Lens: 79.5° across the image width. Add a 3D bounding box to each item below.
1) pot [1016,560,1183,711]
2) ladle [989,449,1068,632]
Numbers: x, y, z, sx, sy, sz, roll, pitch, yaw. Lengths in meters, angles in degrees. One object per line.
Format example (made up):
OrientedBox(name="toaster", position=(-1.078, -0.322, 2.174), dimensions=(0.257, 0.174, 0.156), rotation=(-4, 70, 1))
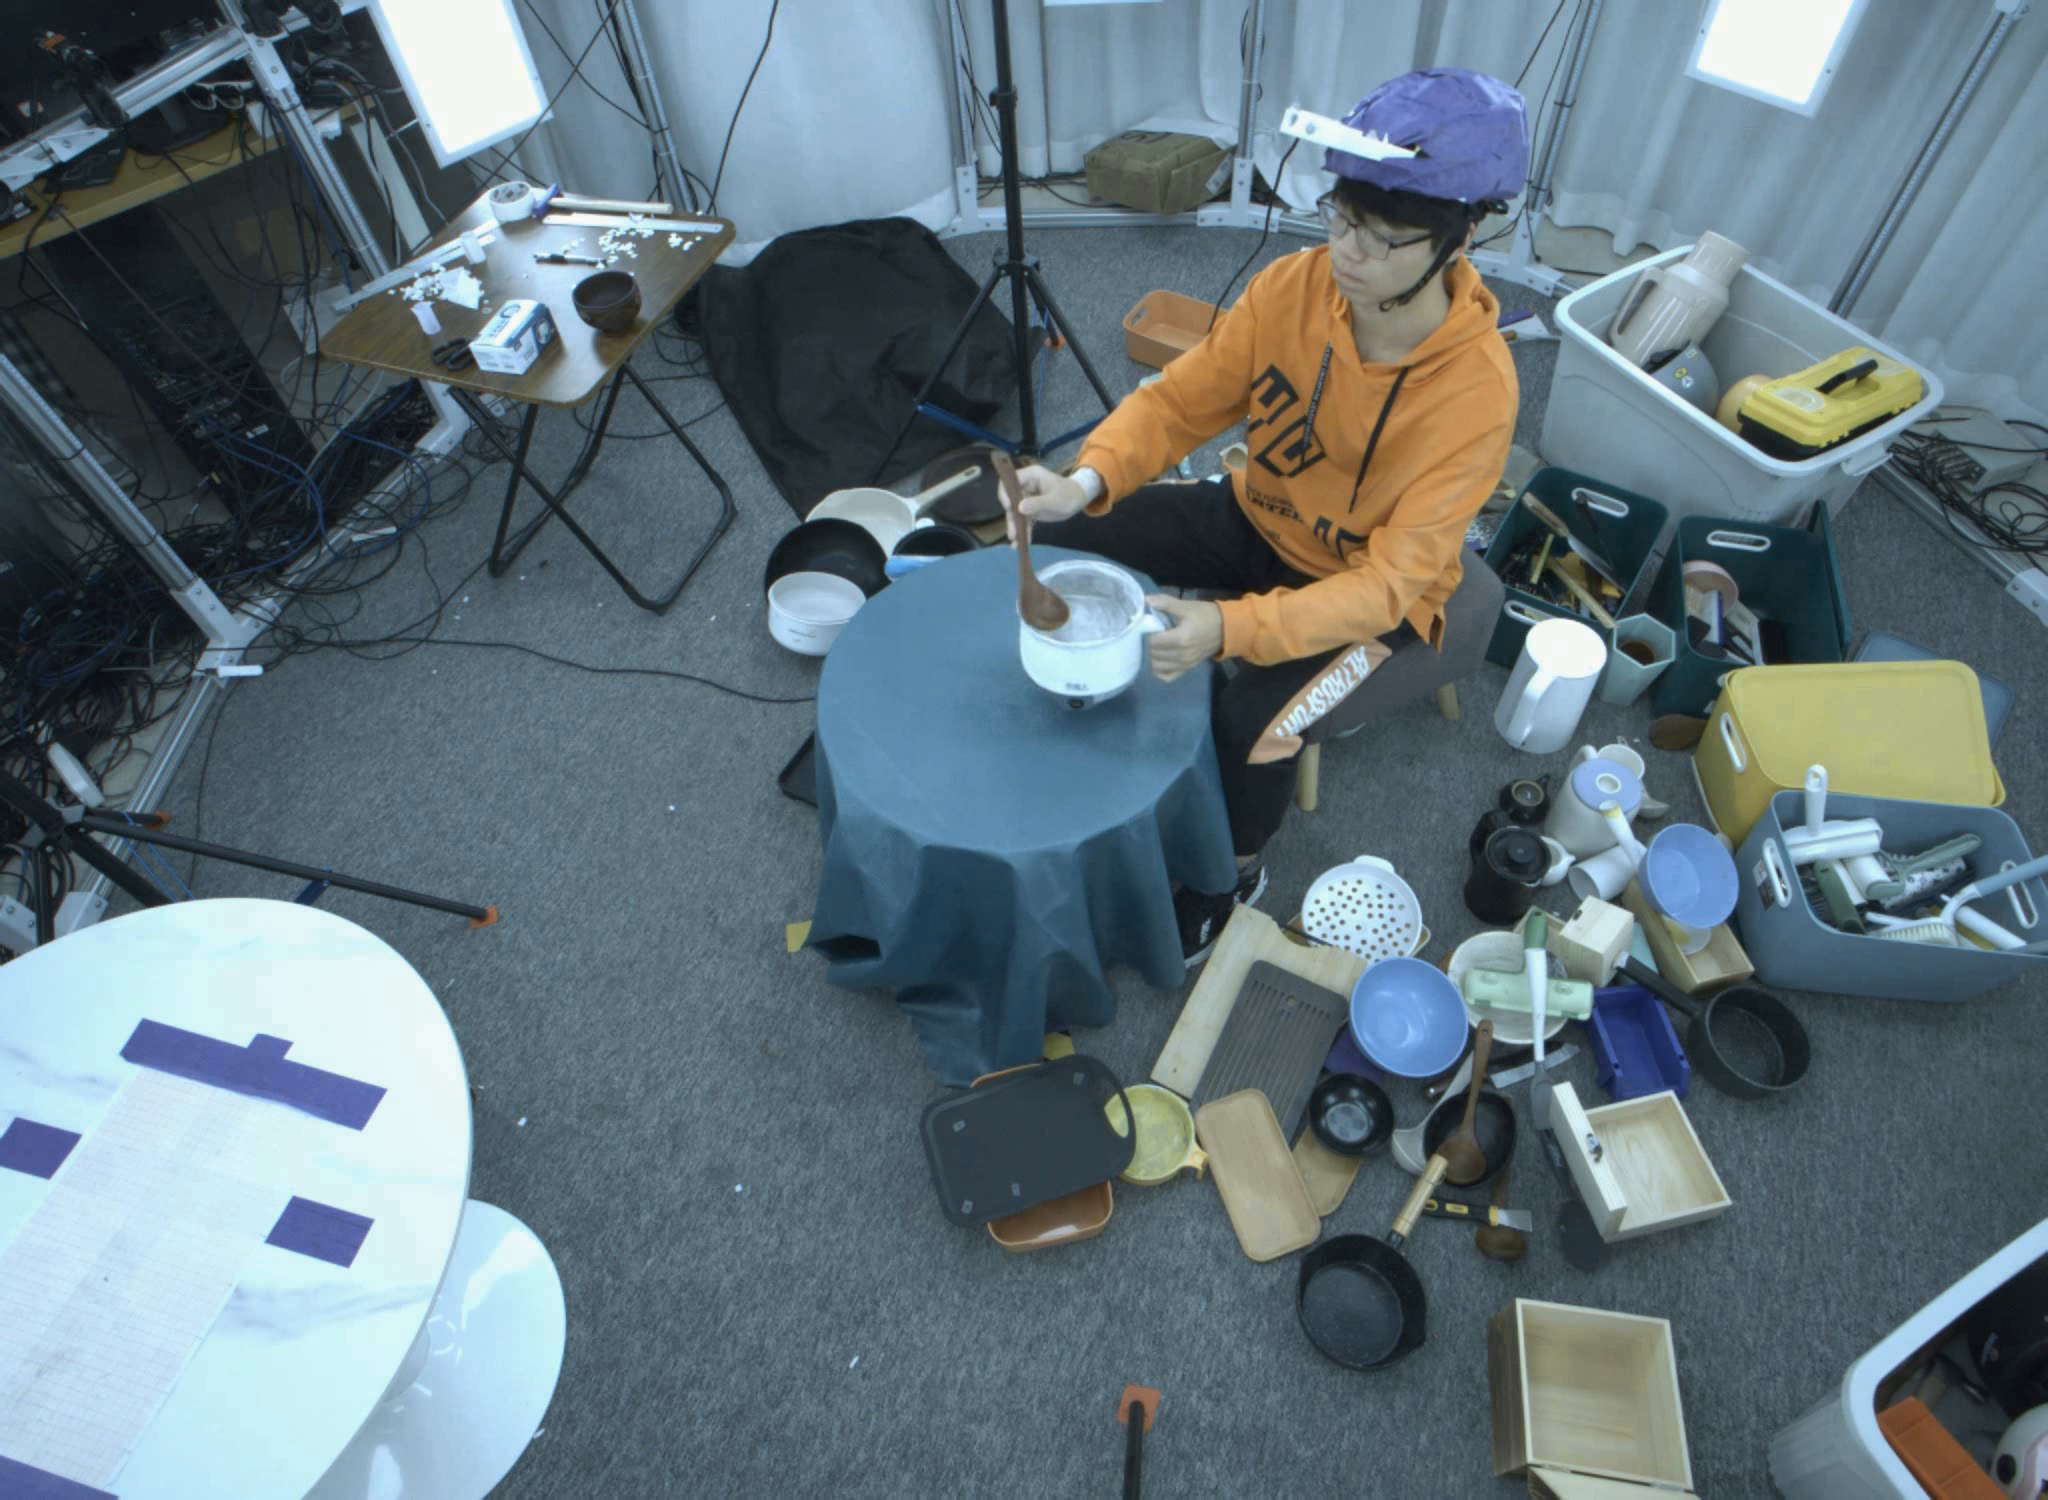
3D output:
OrientedBox(name="pot", position=(0.108, -0.162, 1.741), dimensions=(0.233, 0.138, 0.177), rotation=(2, 51, 5))
OrientedBox(name="ladle", position=(0.003, -0.288, 1.667), dimensions=(0.064, 0.261, 0.078), rotation=(-3, 13, 44))
